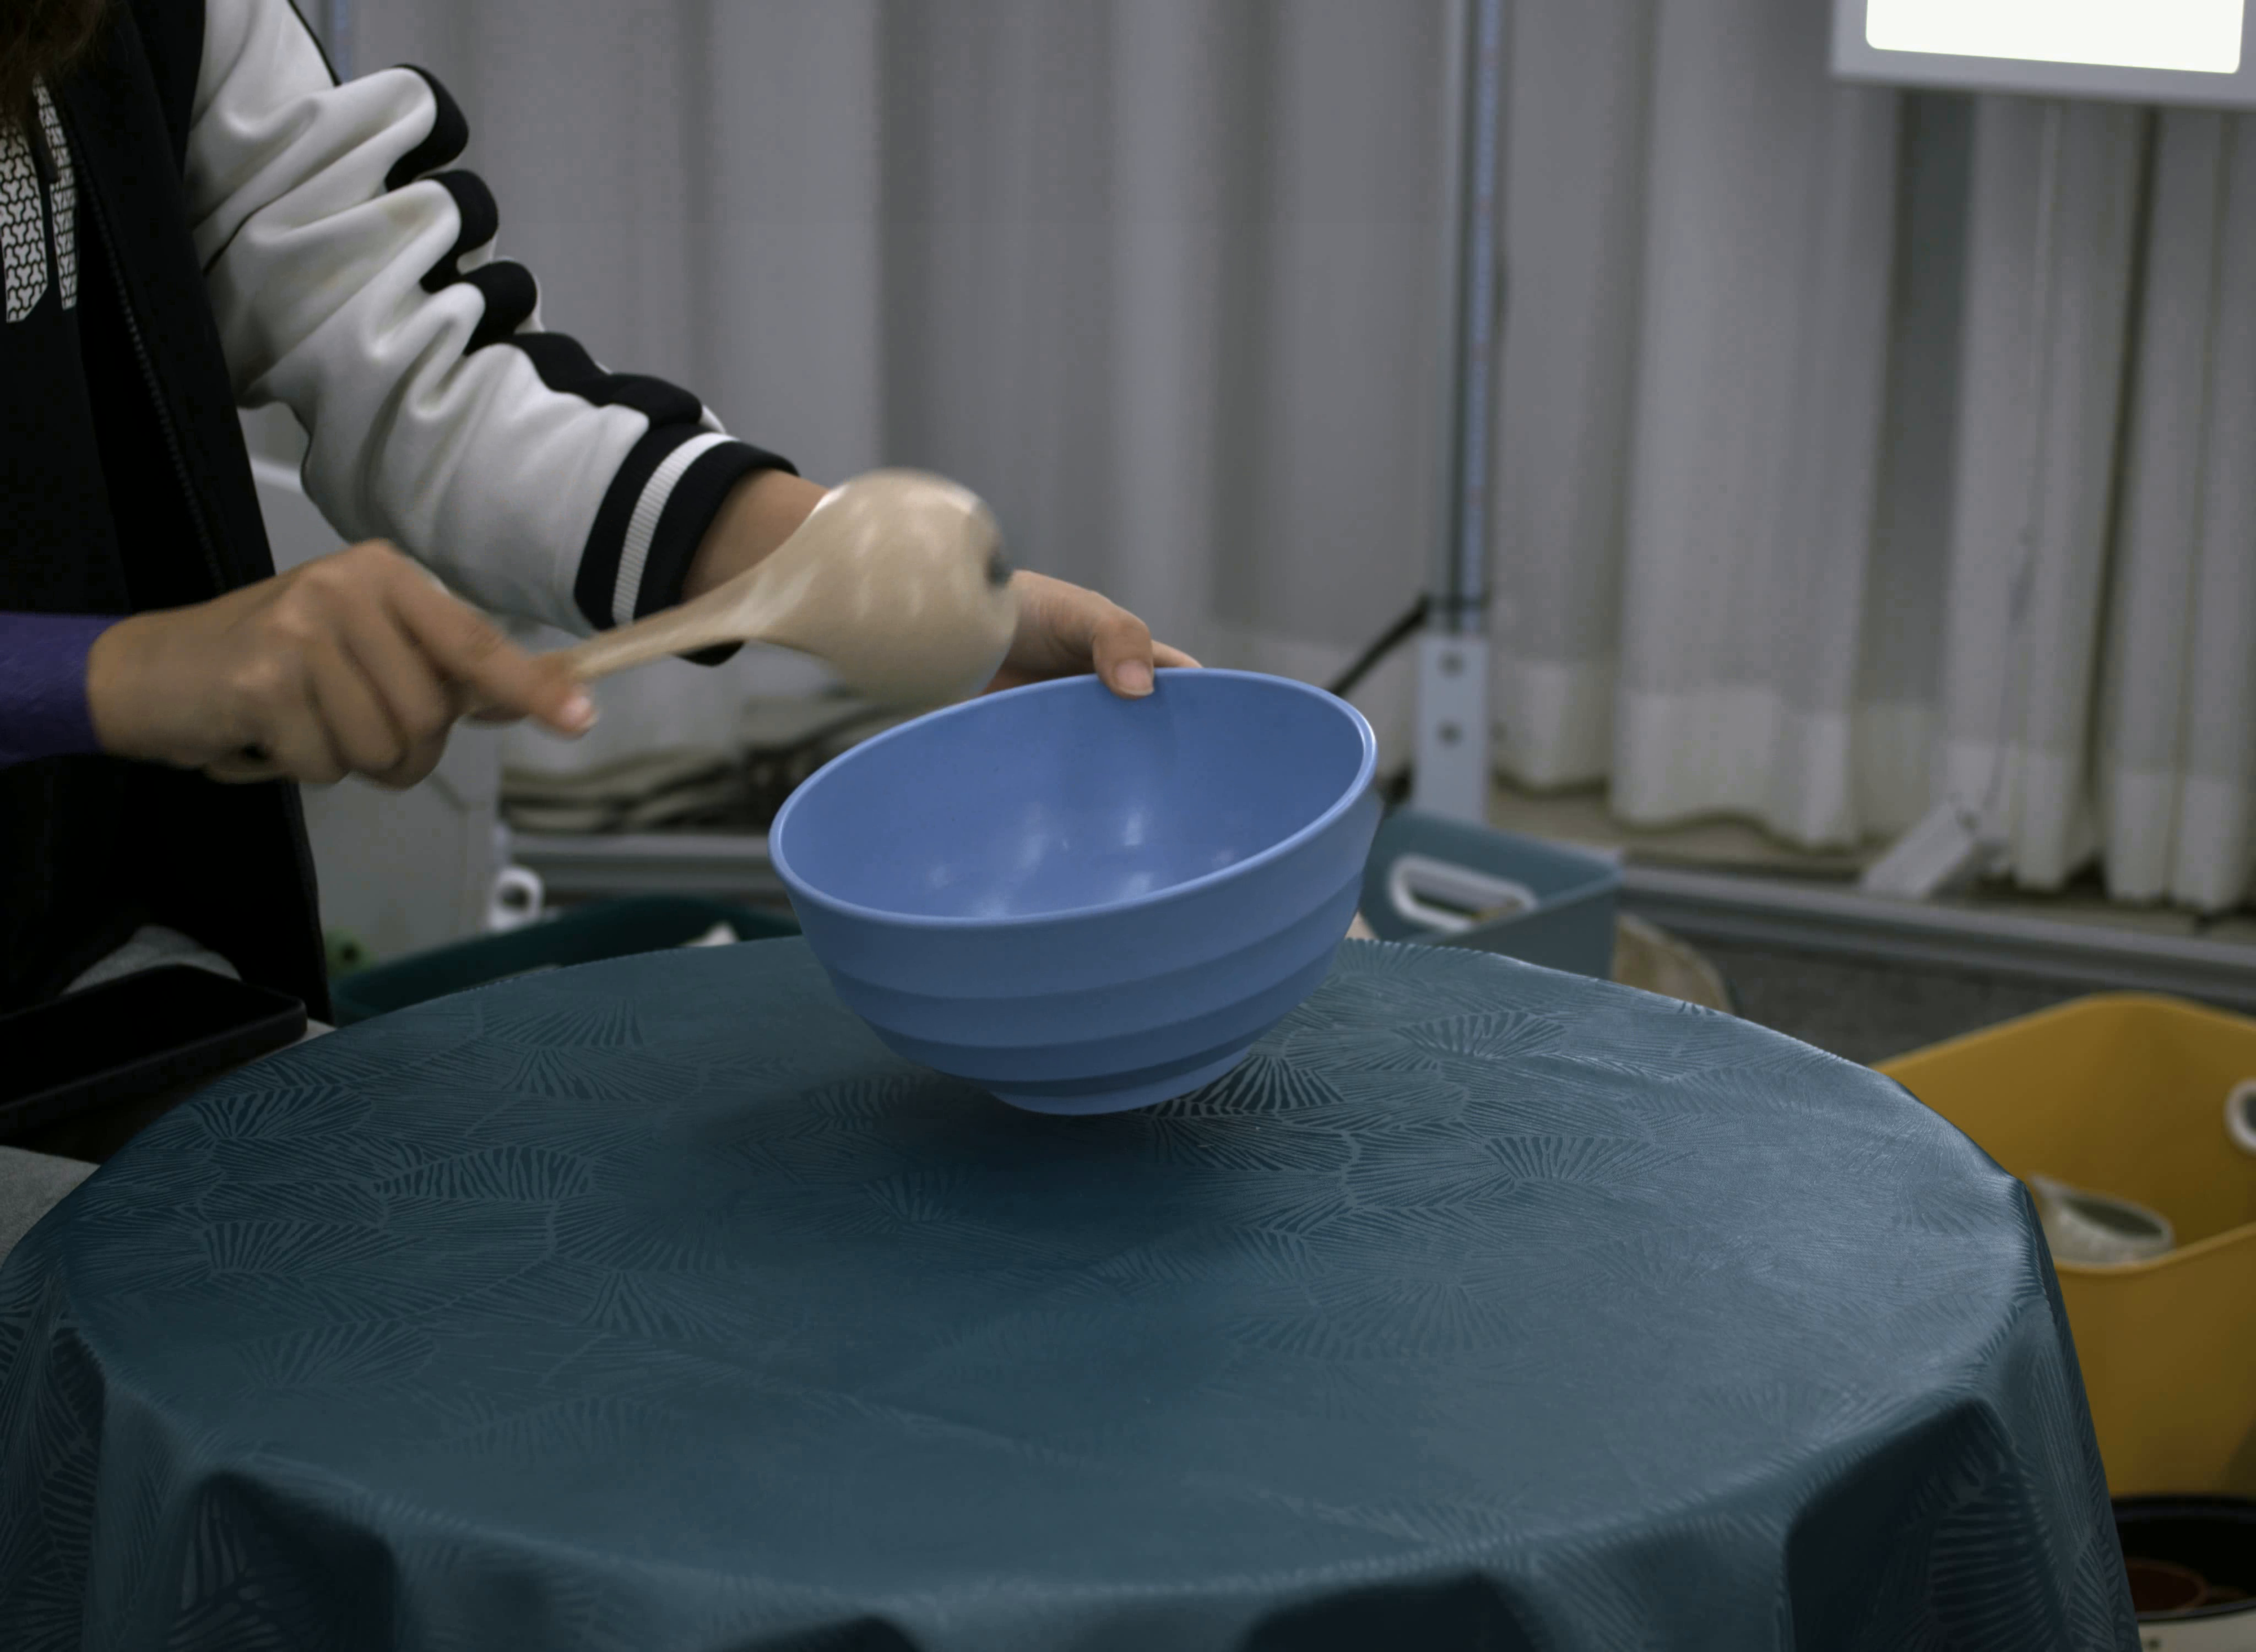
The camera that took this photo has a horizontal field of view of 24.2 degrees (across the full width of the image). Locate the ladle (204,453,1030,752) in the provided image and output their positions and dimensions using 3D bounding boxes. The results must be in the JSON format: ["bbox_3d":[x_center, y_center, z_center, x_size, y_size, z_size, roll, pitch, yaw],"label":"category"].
[{"bbox_3d":[-0.149,-0.051,1.561,0.252,0.072,0.073,-13,-12,23],"label":"ladle"}]

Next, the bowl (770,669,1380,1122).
[{"bbox_3d":[-0.010,0.032,1.684,0.195,0.096,0.195,-8,24,4],"label":"bowl"}]
